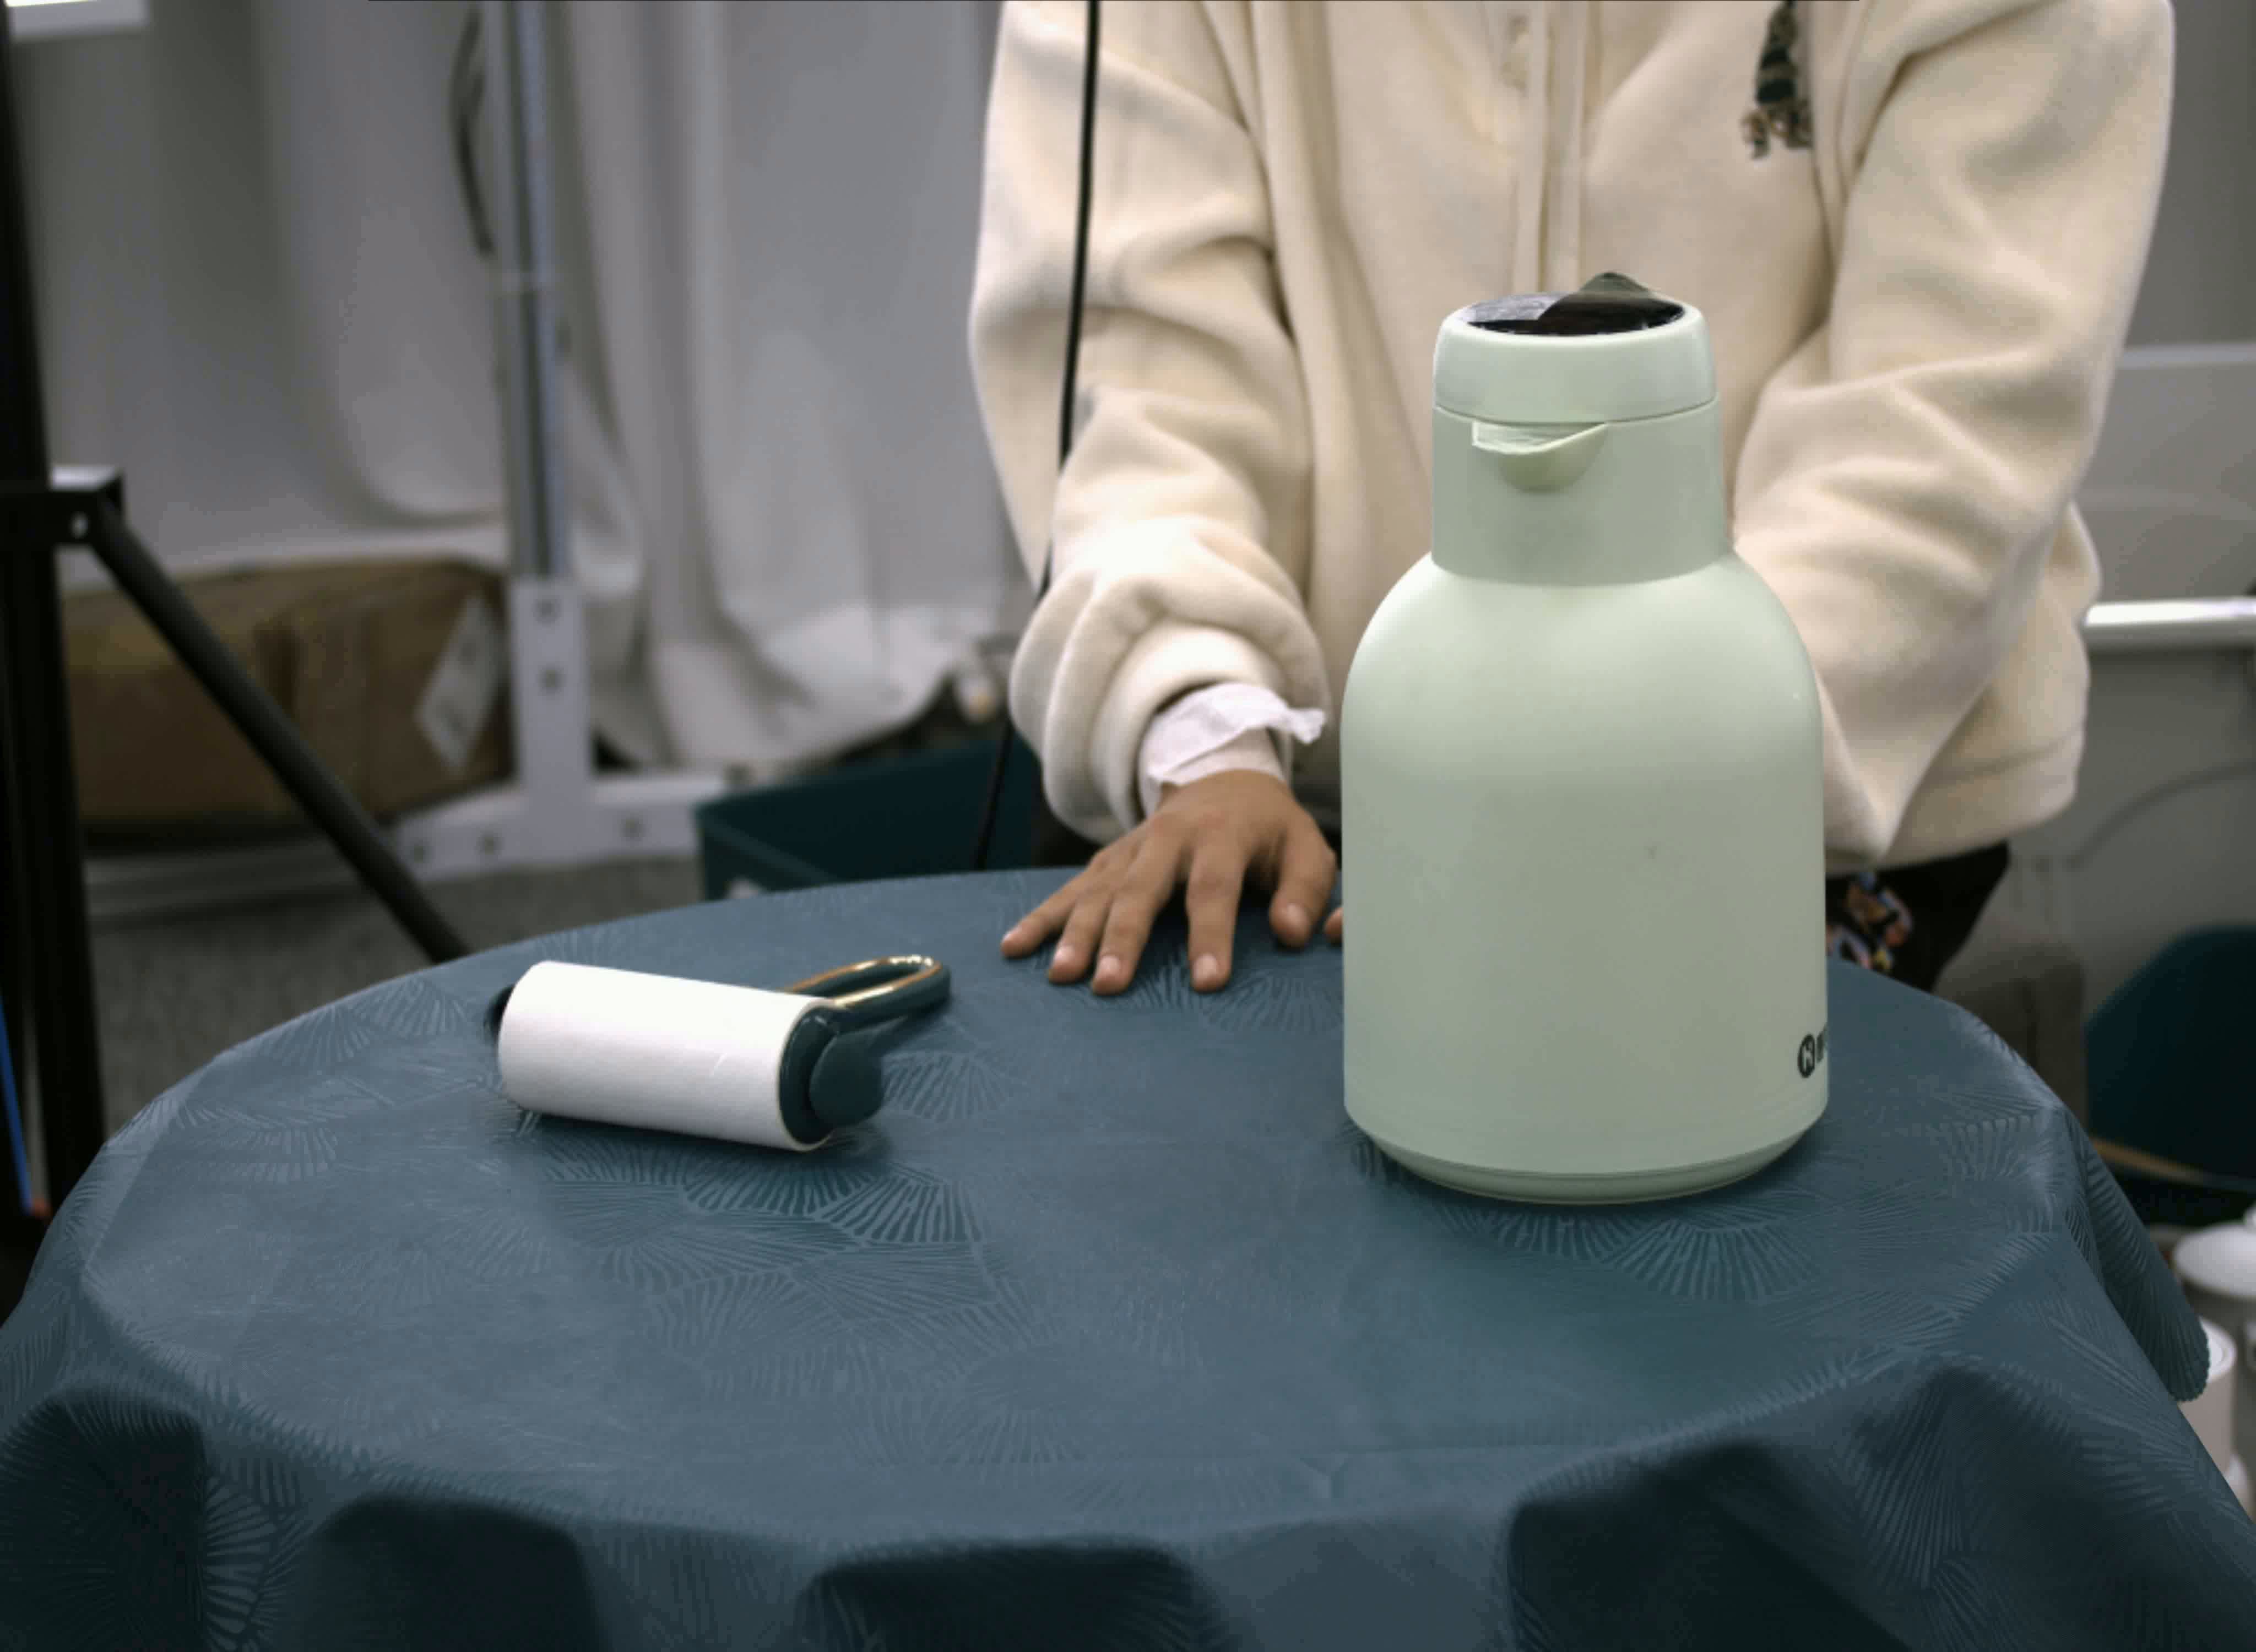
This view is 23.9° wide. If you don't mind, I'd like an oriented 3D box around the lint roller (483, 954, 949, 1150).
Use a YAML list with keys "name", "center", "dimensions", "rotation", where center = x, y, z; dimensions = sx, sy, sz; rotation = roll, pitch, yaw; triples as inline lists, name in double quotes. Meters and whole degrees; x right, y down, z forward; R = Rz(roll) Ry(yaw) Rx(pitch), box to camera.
- name: "lint roller"
  center: [-0.107, 0.052, 1.683]
  dimensions: [0.136, 0.048, 0.177]
  rotation: [7, 19, 28]

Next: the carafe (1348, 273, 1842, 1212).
- name: "carafe"
  center: [0.140, -0.029, 1.562]
  dimensions: [0.146, 0.257, 0.184]
  rotation: [2, 12, 21]
